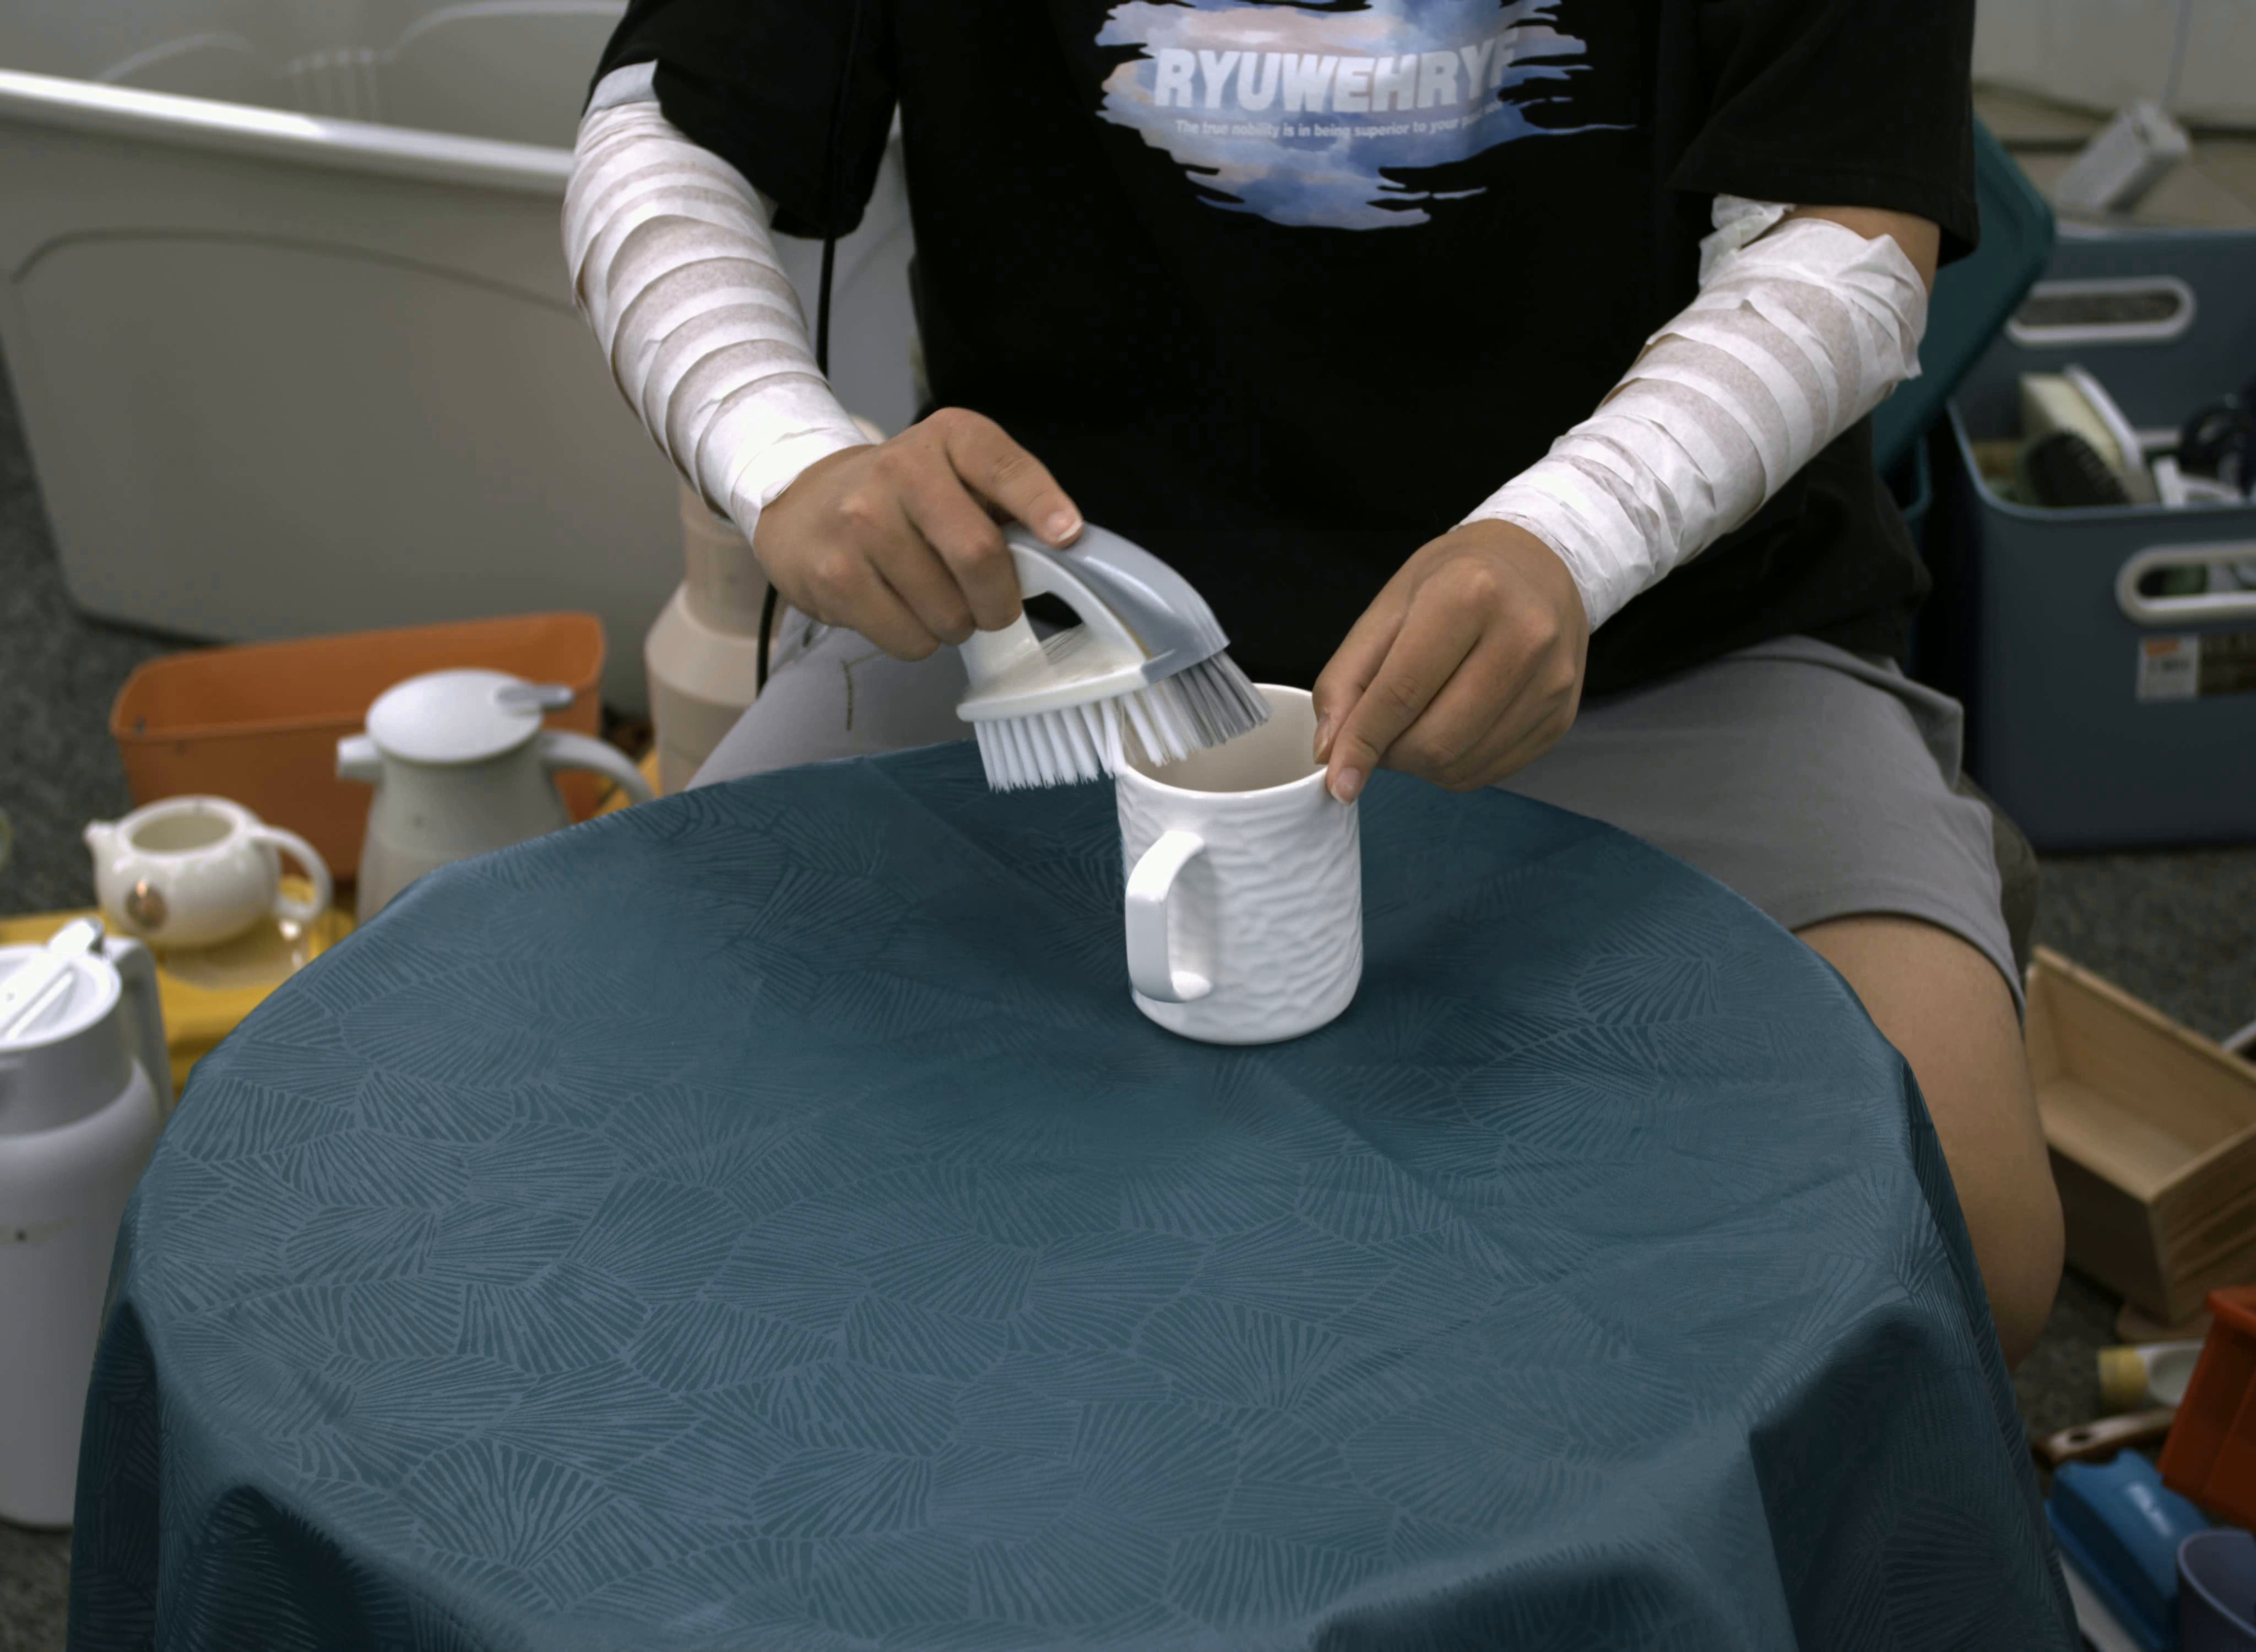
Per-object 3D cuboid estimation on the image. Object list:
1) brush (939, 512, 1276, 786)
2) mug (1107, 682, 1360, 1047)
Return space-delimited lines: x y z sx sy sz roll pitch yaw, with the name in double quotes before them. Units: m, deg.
"brush" -0.012 -0.068 1.952 0.062 0.094 0.174 -38 16 -22
"mug" 0.031 0.021 1.943 0.084 0.101 0.120 9 30 23
